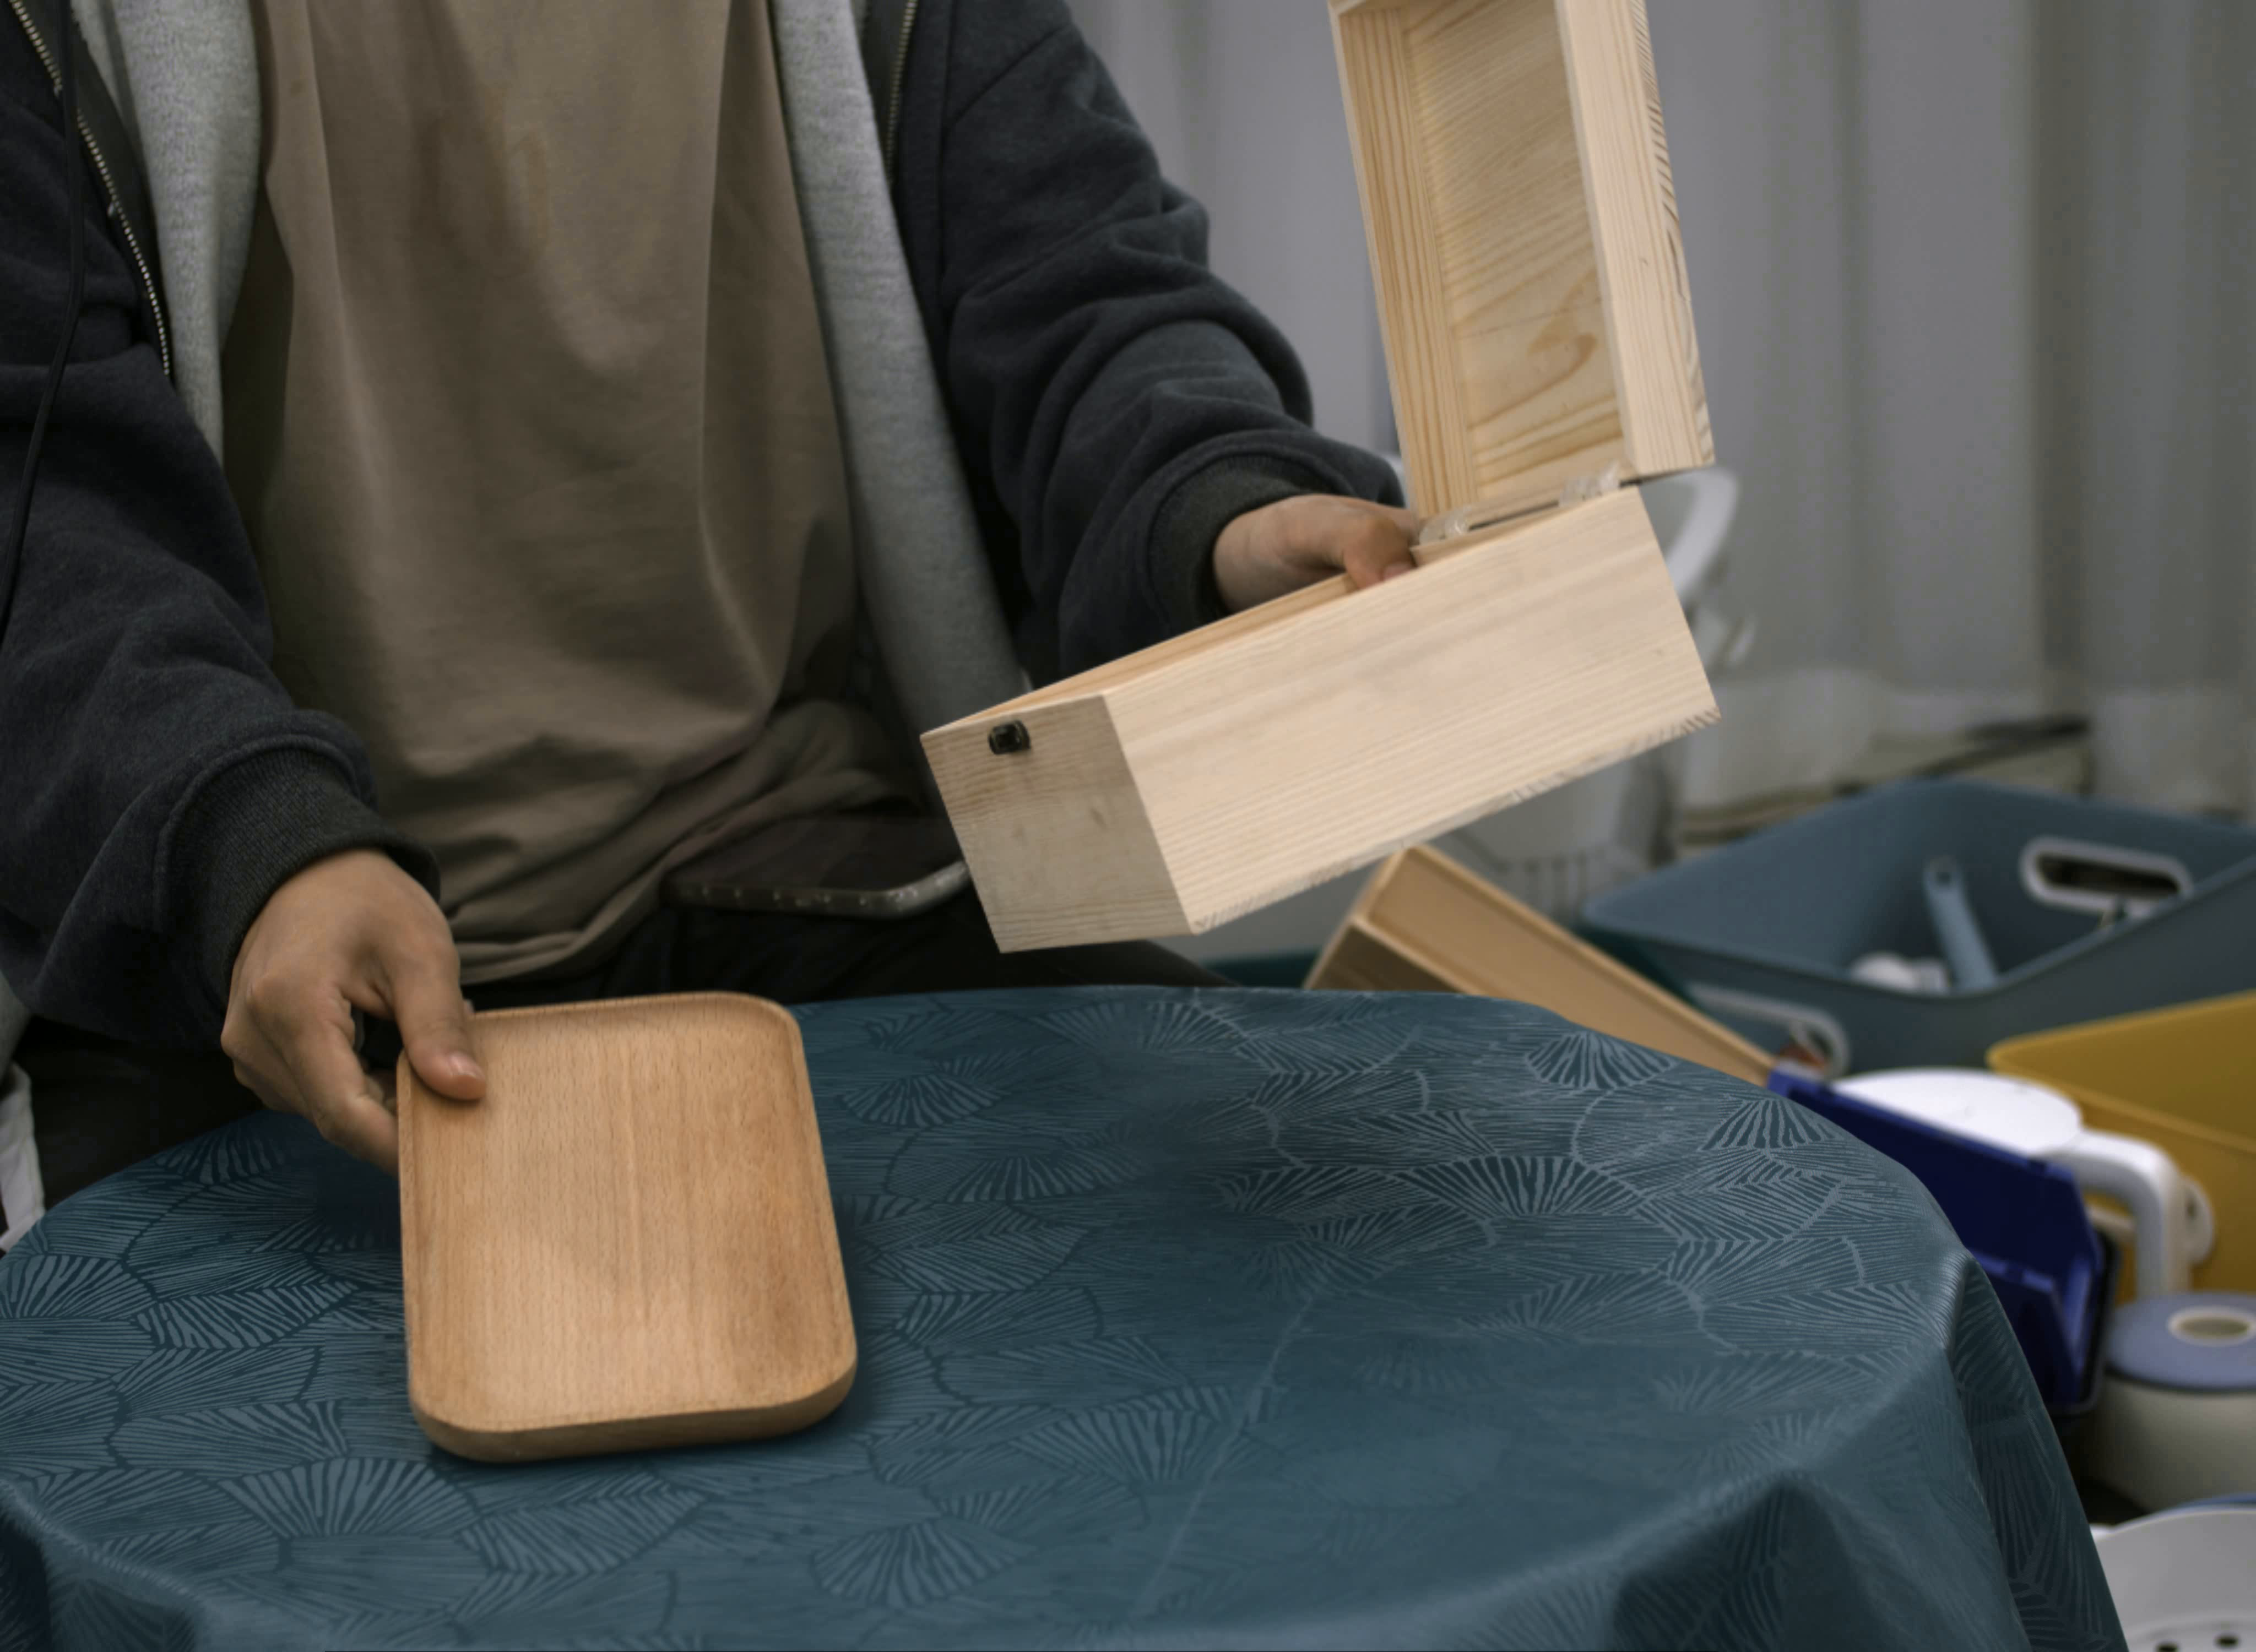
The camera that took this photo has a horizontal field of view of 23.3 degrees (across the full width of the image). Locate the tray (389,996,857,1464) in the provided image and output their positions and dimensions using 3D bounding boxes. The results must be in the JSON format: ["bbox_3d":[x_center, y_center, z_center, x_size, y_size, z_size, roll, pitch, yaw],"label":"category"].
[{"bbox_3d":[-0.153,0.116,1.623,0.130,0.023,0.253,-2,25,-7],"label":"tray"}]

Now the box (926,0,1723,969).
[{"bbox_3d":[0.058,-0.120,1.685,0.264,0.254,0.181,-20,0,-20],"label":"box"}]
